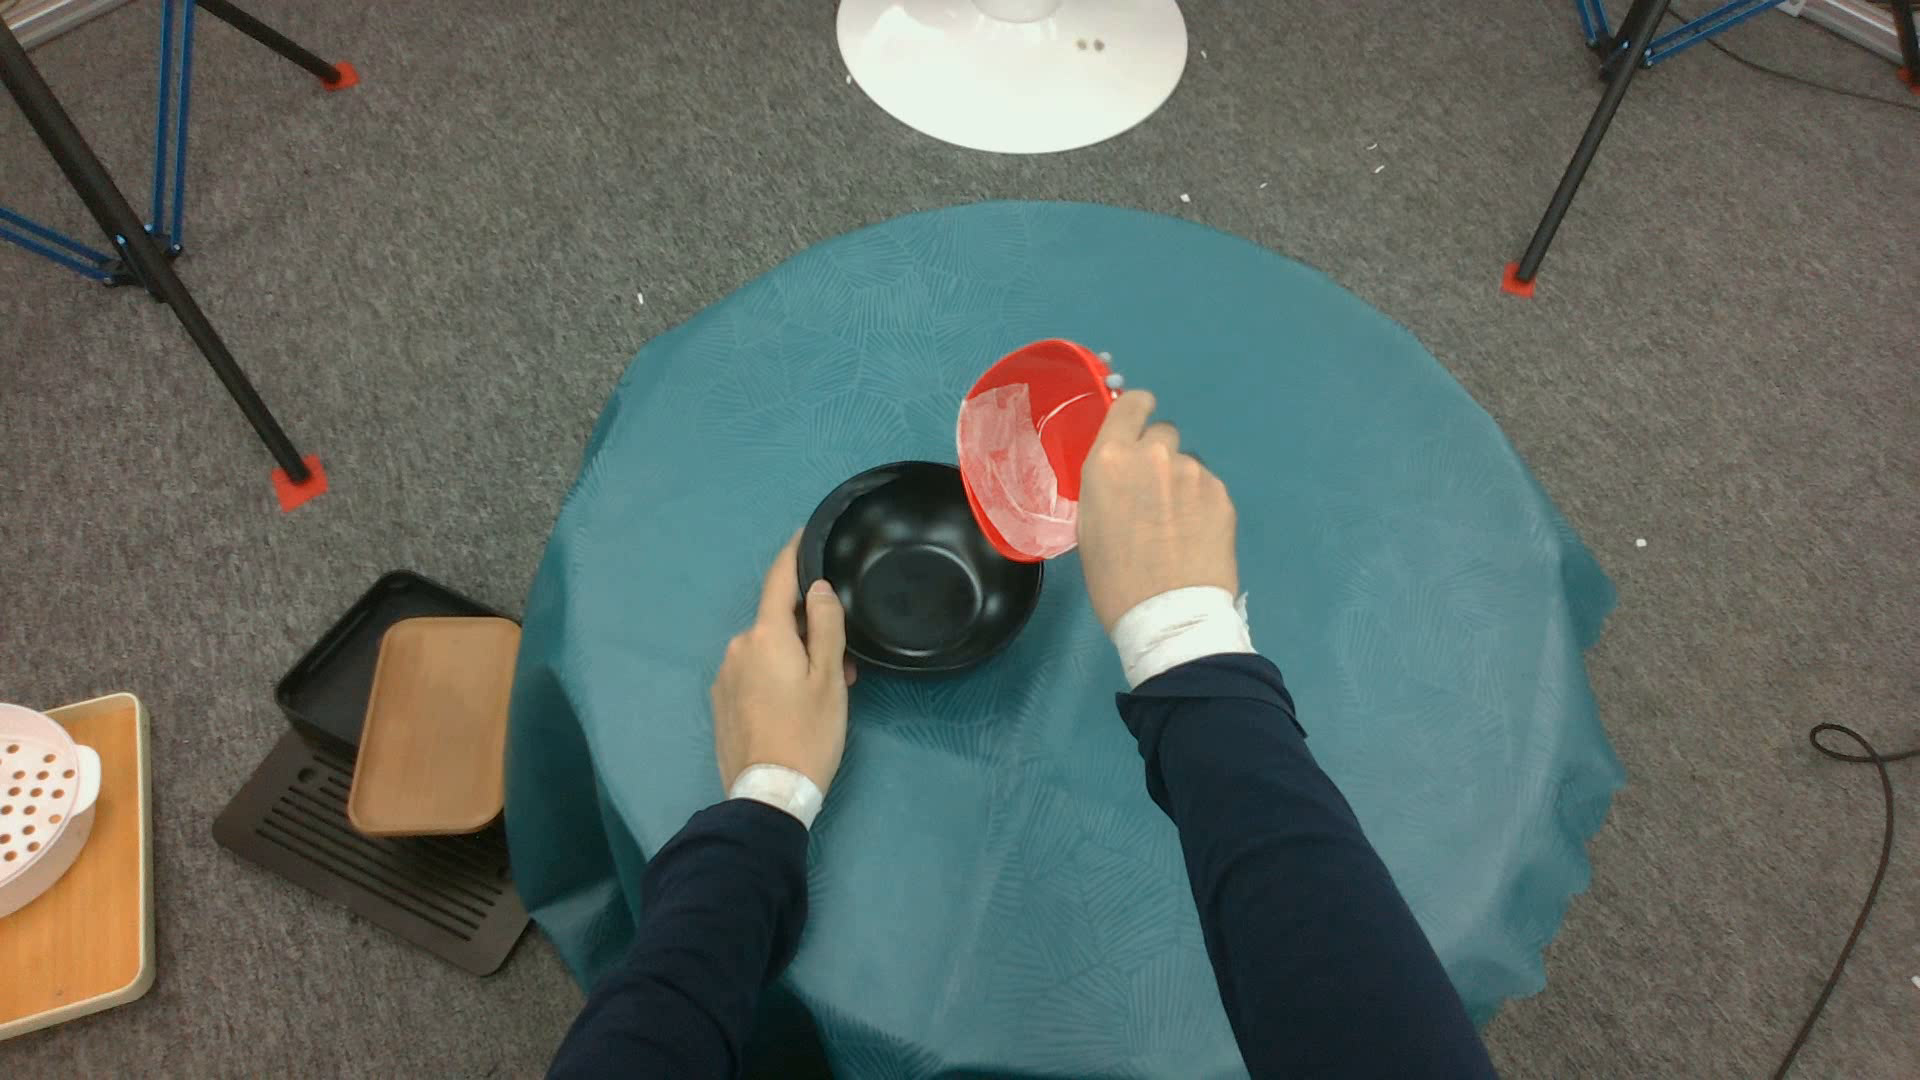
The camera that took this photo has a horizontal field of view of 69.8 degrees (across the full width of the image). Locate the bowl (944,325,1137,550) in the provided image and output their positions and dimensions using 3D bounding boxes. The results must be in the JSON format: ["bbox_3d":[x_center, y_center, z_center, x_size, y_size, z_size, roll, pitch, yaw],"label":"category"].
[{"bbox_3d":[0.049,-0.052,0.725,0.051,0.118,0.119,-1,50,-46],"label":"bowl"}]

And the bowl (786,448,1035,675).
[{"bbox_3d":[-0.029,0.019,0.786,0.140,0.049,0.140,2,62,-3],"label":"bowl"}]
